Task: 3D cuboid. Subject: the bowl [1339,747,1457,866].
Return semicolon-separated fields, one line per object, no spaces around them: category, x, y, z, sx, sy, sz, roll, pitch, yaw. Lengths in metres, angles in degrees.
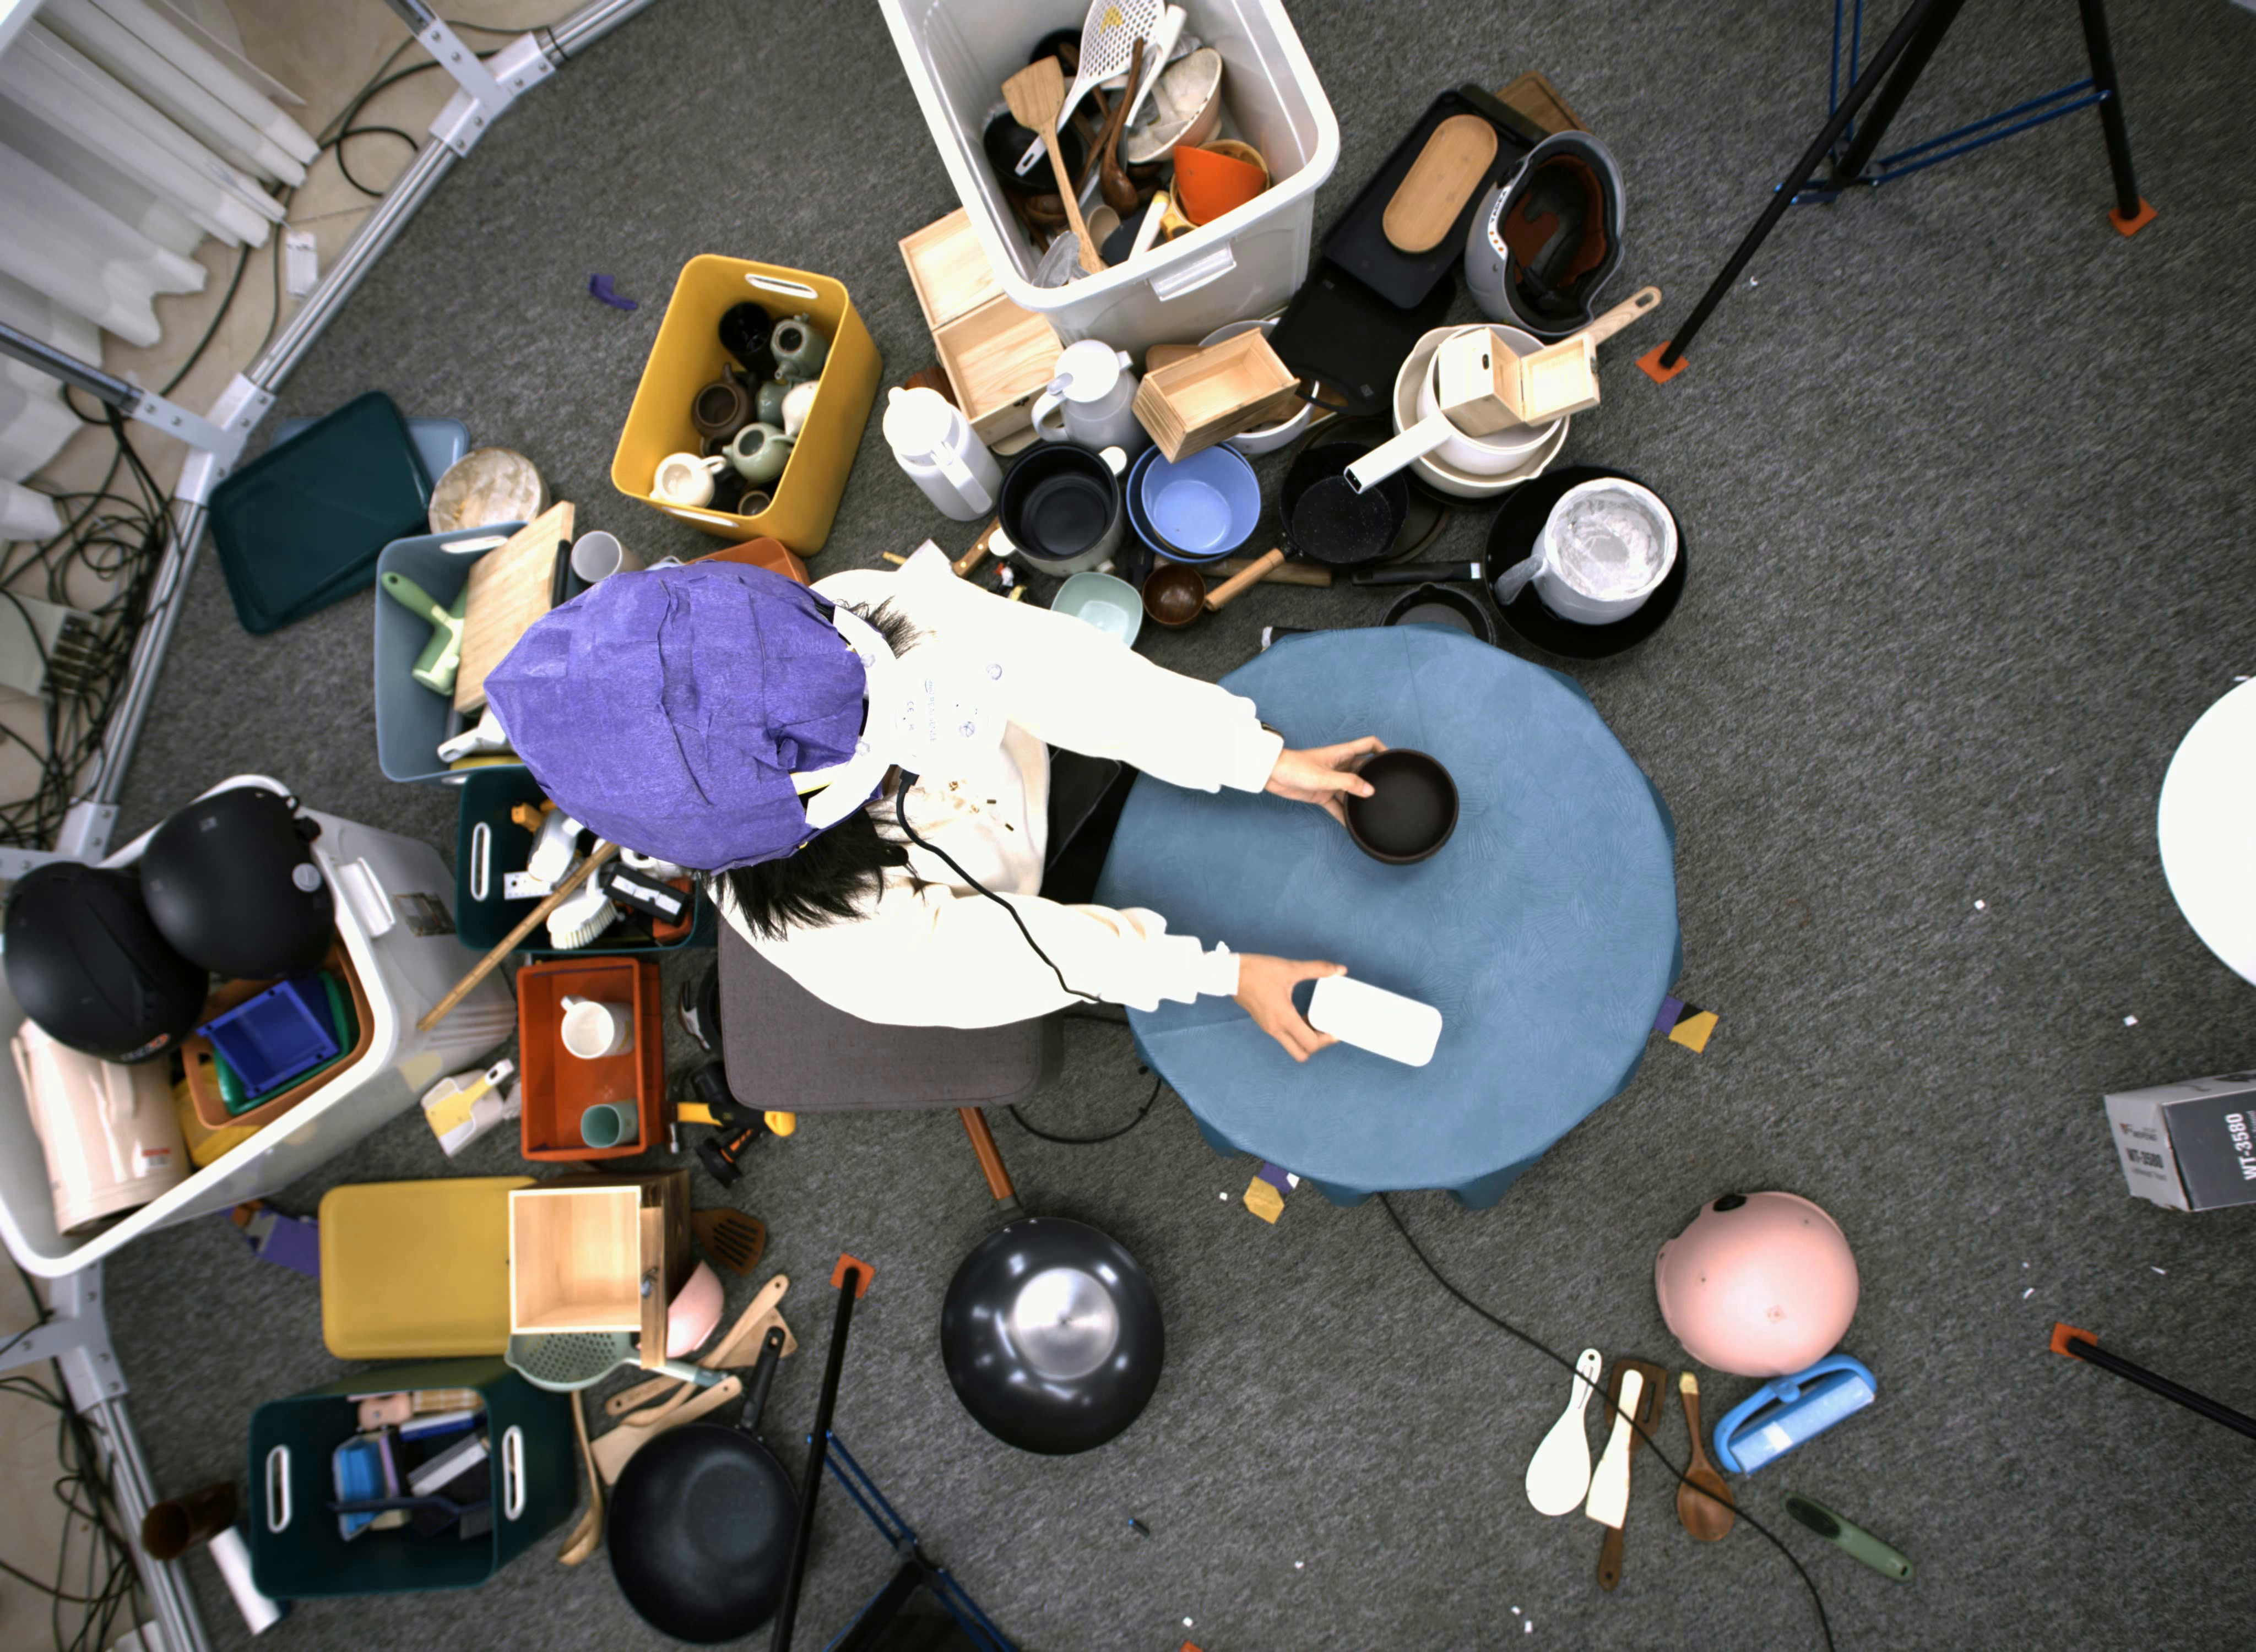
bowl;0.276;-0.017;1.403;0.118;0.070;0.117;-3;79;13

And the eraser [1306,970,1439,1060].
eraser;0.248;0.188;1.403;0.131;0.034;0.064;18;101;18
